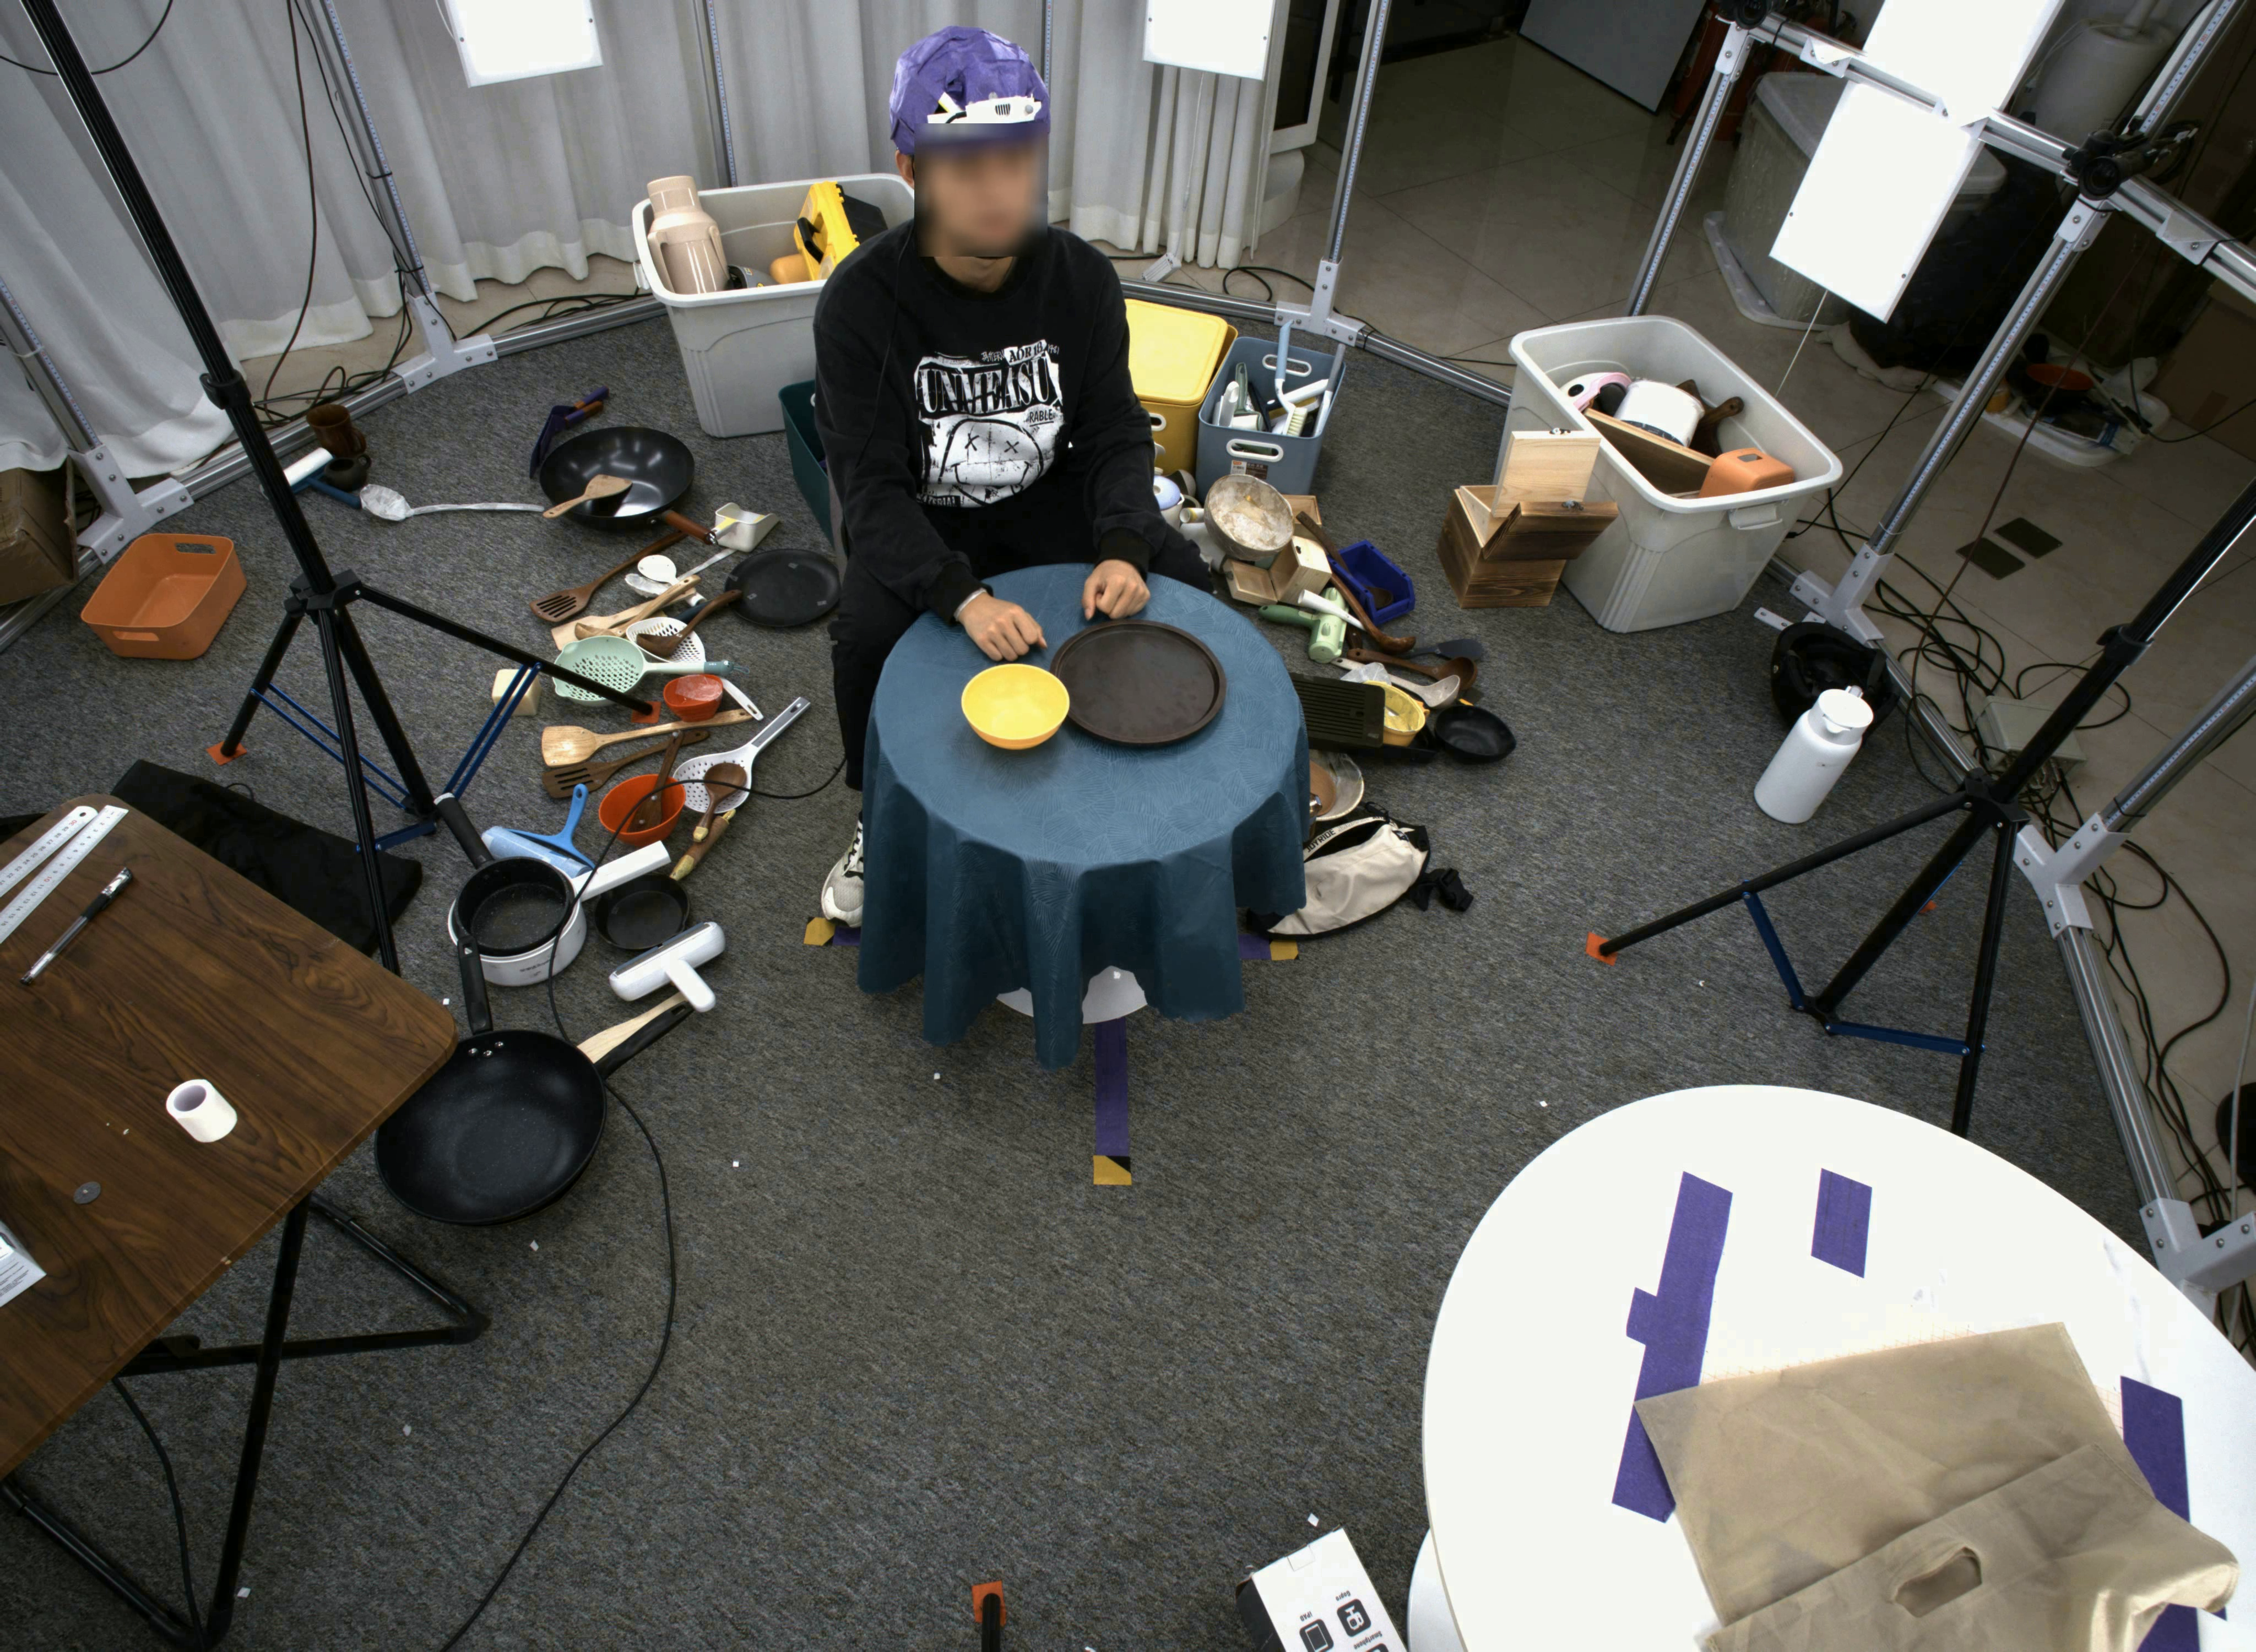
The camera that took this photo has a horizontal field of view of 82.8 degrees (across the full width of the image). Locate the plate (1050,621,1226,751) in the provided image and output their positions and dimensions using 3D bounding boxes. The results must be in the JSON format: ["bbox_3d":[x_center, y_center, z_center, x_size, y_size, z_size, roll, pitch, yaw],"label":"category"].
[{"bbox_3d":[0.015,-0.203,1.848,0.254,0.028,0.261,1,49,-1],"label":"plate"}]

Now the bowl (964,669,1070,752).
[{"bbox_3d":[-0.153,-0.148,1.767,0.145,0.058,0.149,2,46,-3],"label":"bowl"}]
